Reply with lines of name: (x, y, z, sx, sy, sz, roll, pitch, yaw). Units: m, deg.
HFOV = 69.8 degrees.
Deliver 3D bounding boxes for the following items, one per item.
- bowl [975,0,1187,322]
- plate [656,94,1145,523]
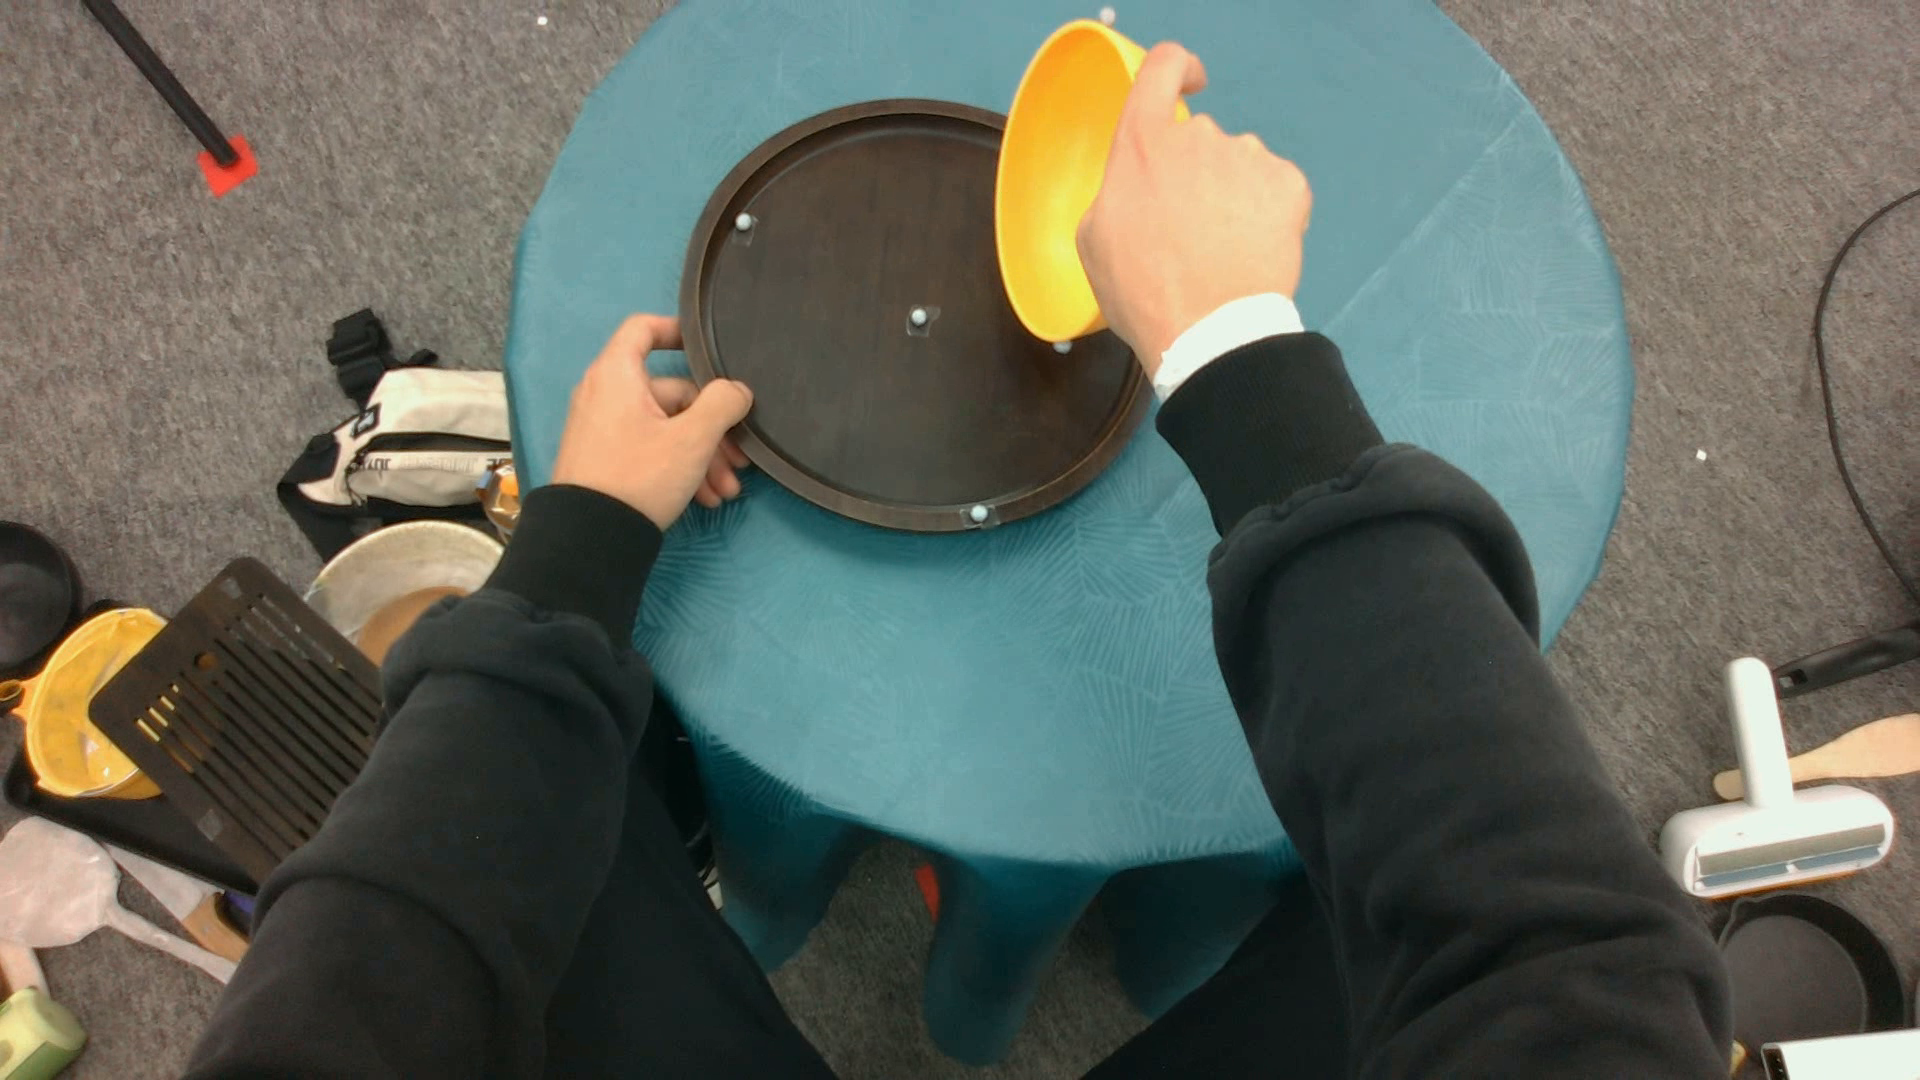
bowl: (0.065, -0.177, 0.656, 0.060, 0.144, 0.145, -3, 67, -27)
plate: (-0.028, -0.125, 0.716, 0.255, 0.029, 0.255, 3, 69, -9)
